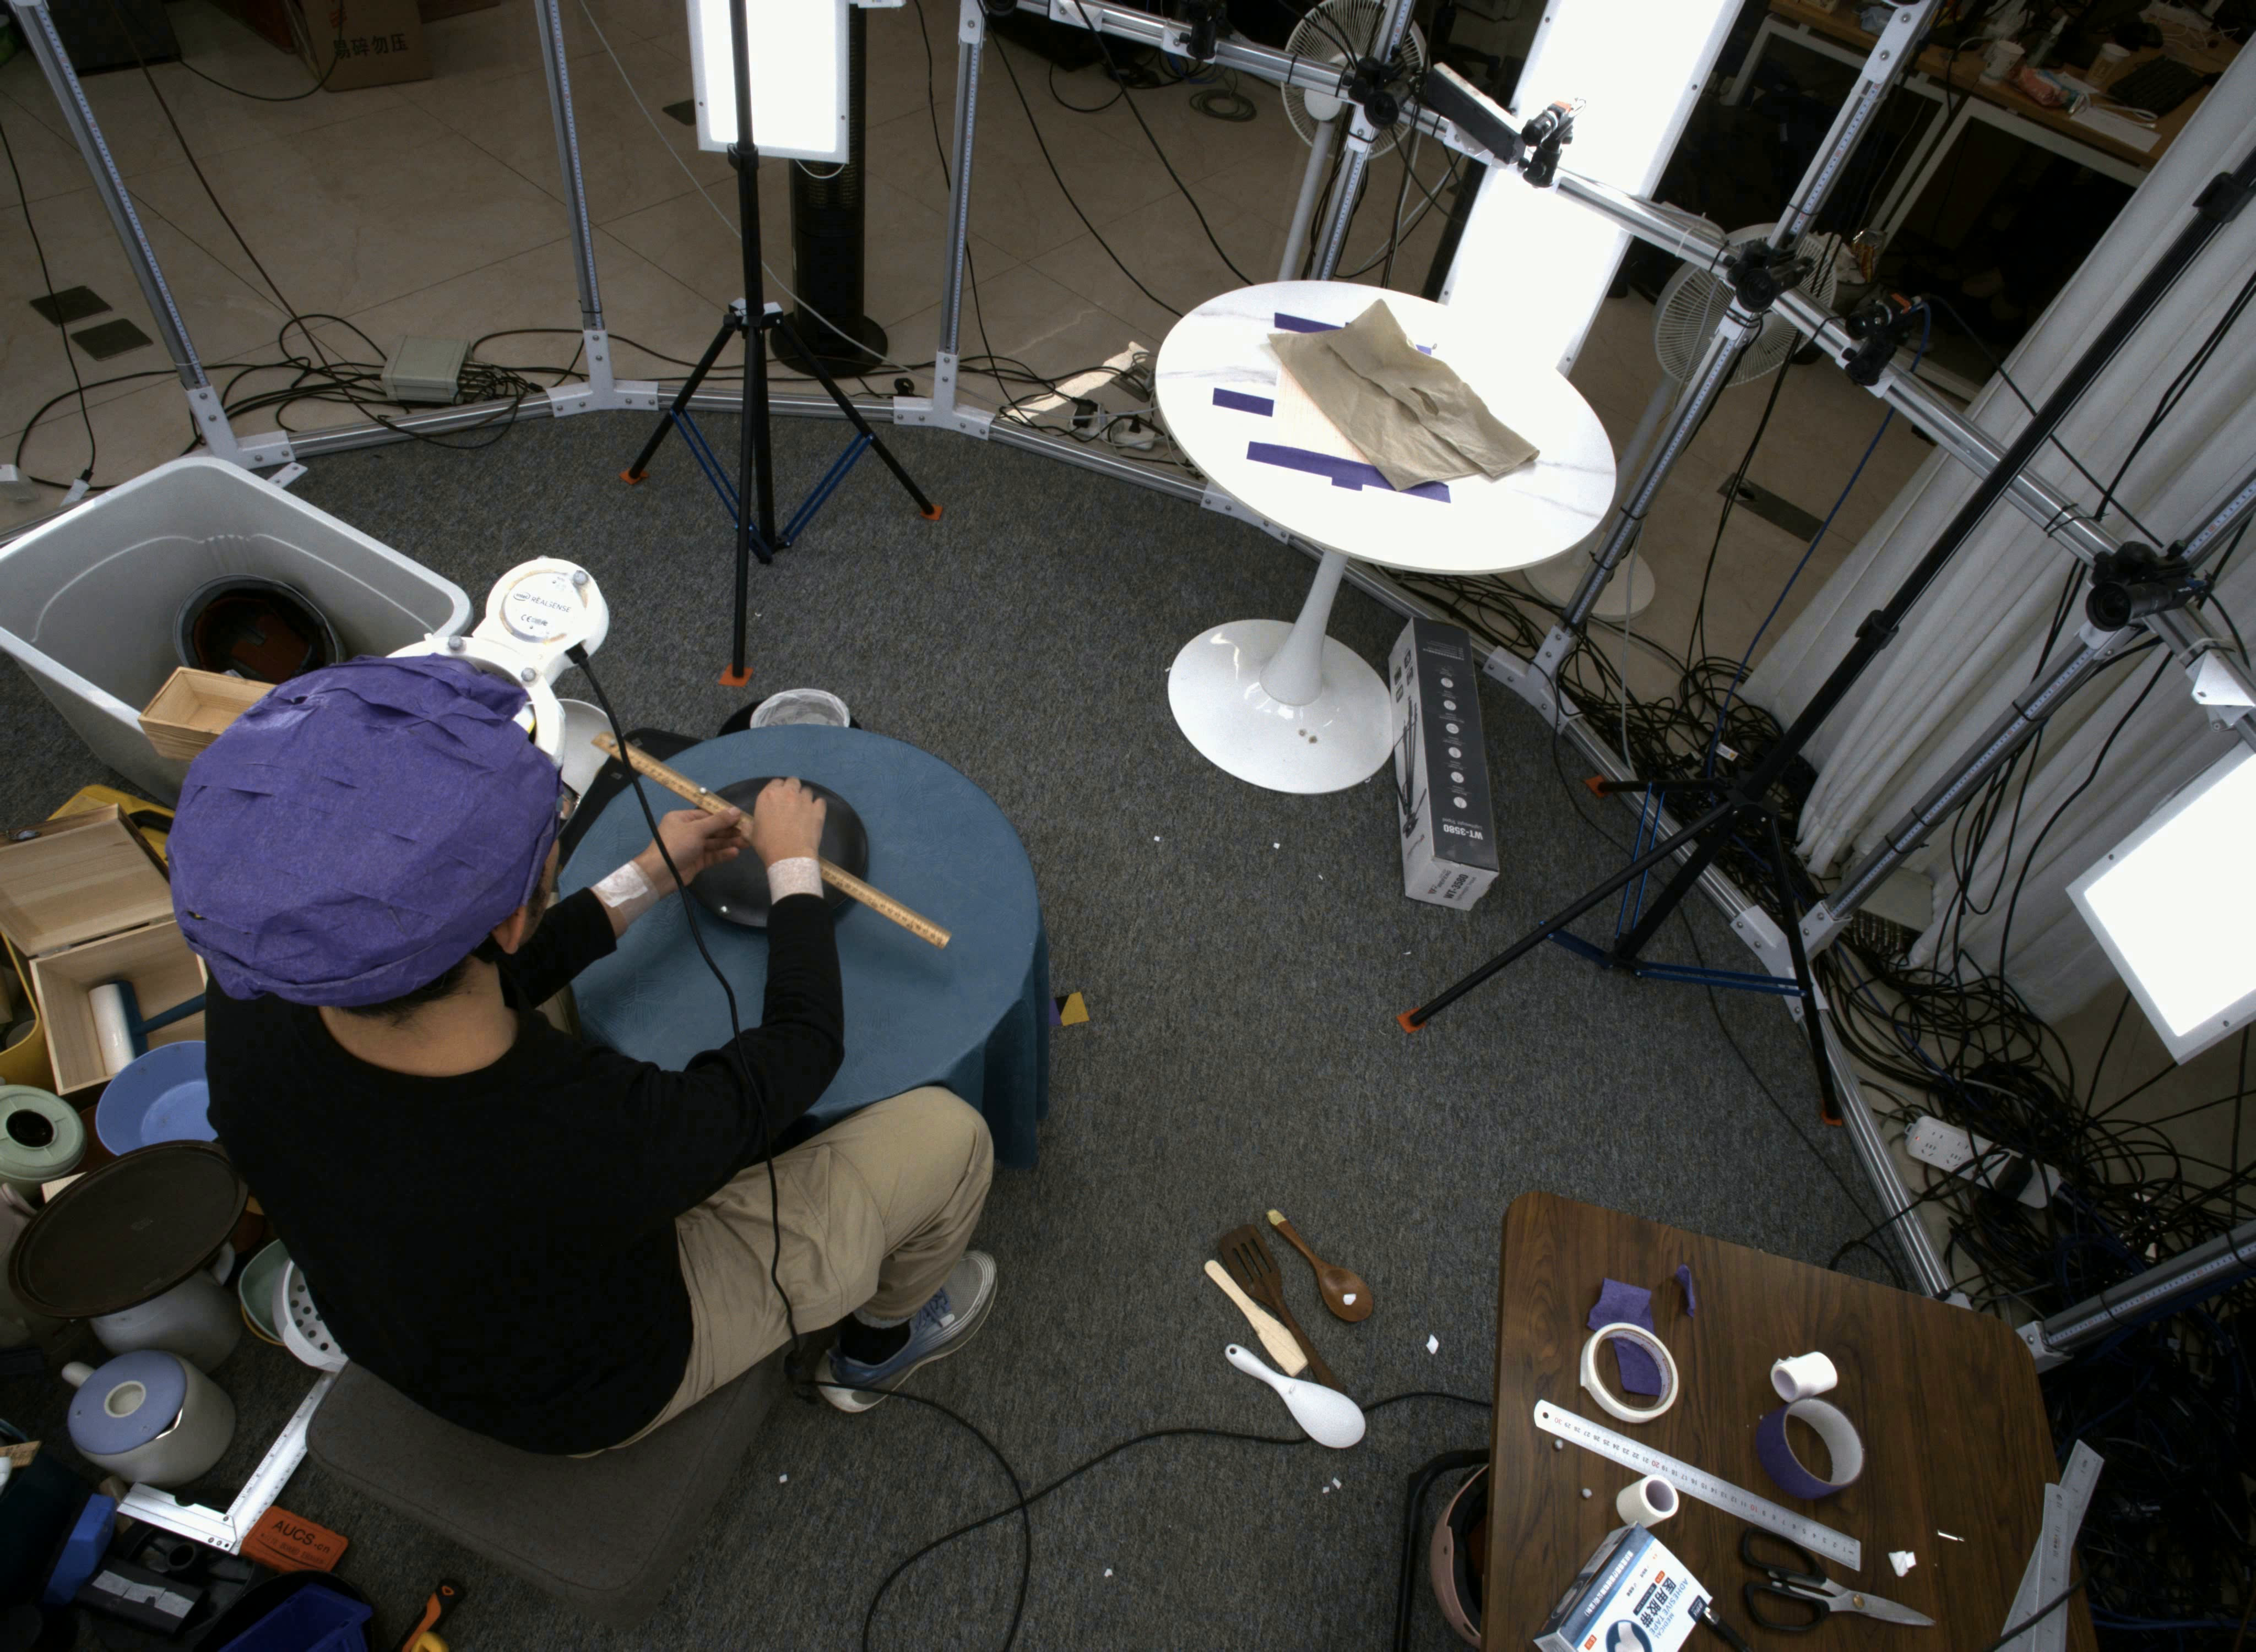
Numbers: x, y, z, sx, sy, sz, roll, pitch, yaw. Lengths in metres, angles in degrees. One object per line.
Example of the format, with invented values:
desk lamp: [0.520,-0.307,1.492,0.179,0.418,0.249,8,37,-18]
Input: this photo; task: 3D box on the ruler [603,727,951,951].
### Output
ruler: [-0.435,0.014,1.580,0.499,0.006,0.026,31,56,-2]

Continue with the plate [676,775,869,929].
plate: [-0.457,0.034,1.669,0.244,0.024,0.240,8,53,-9]
